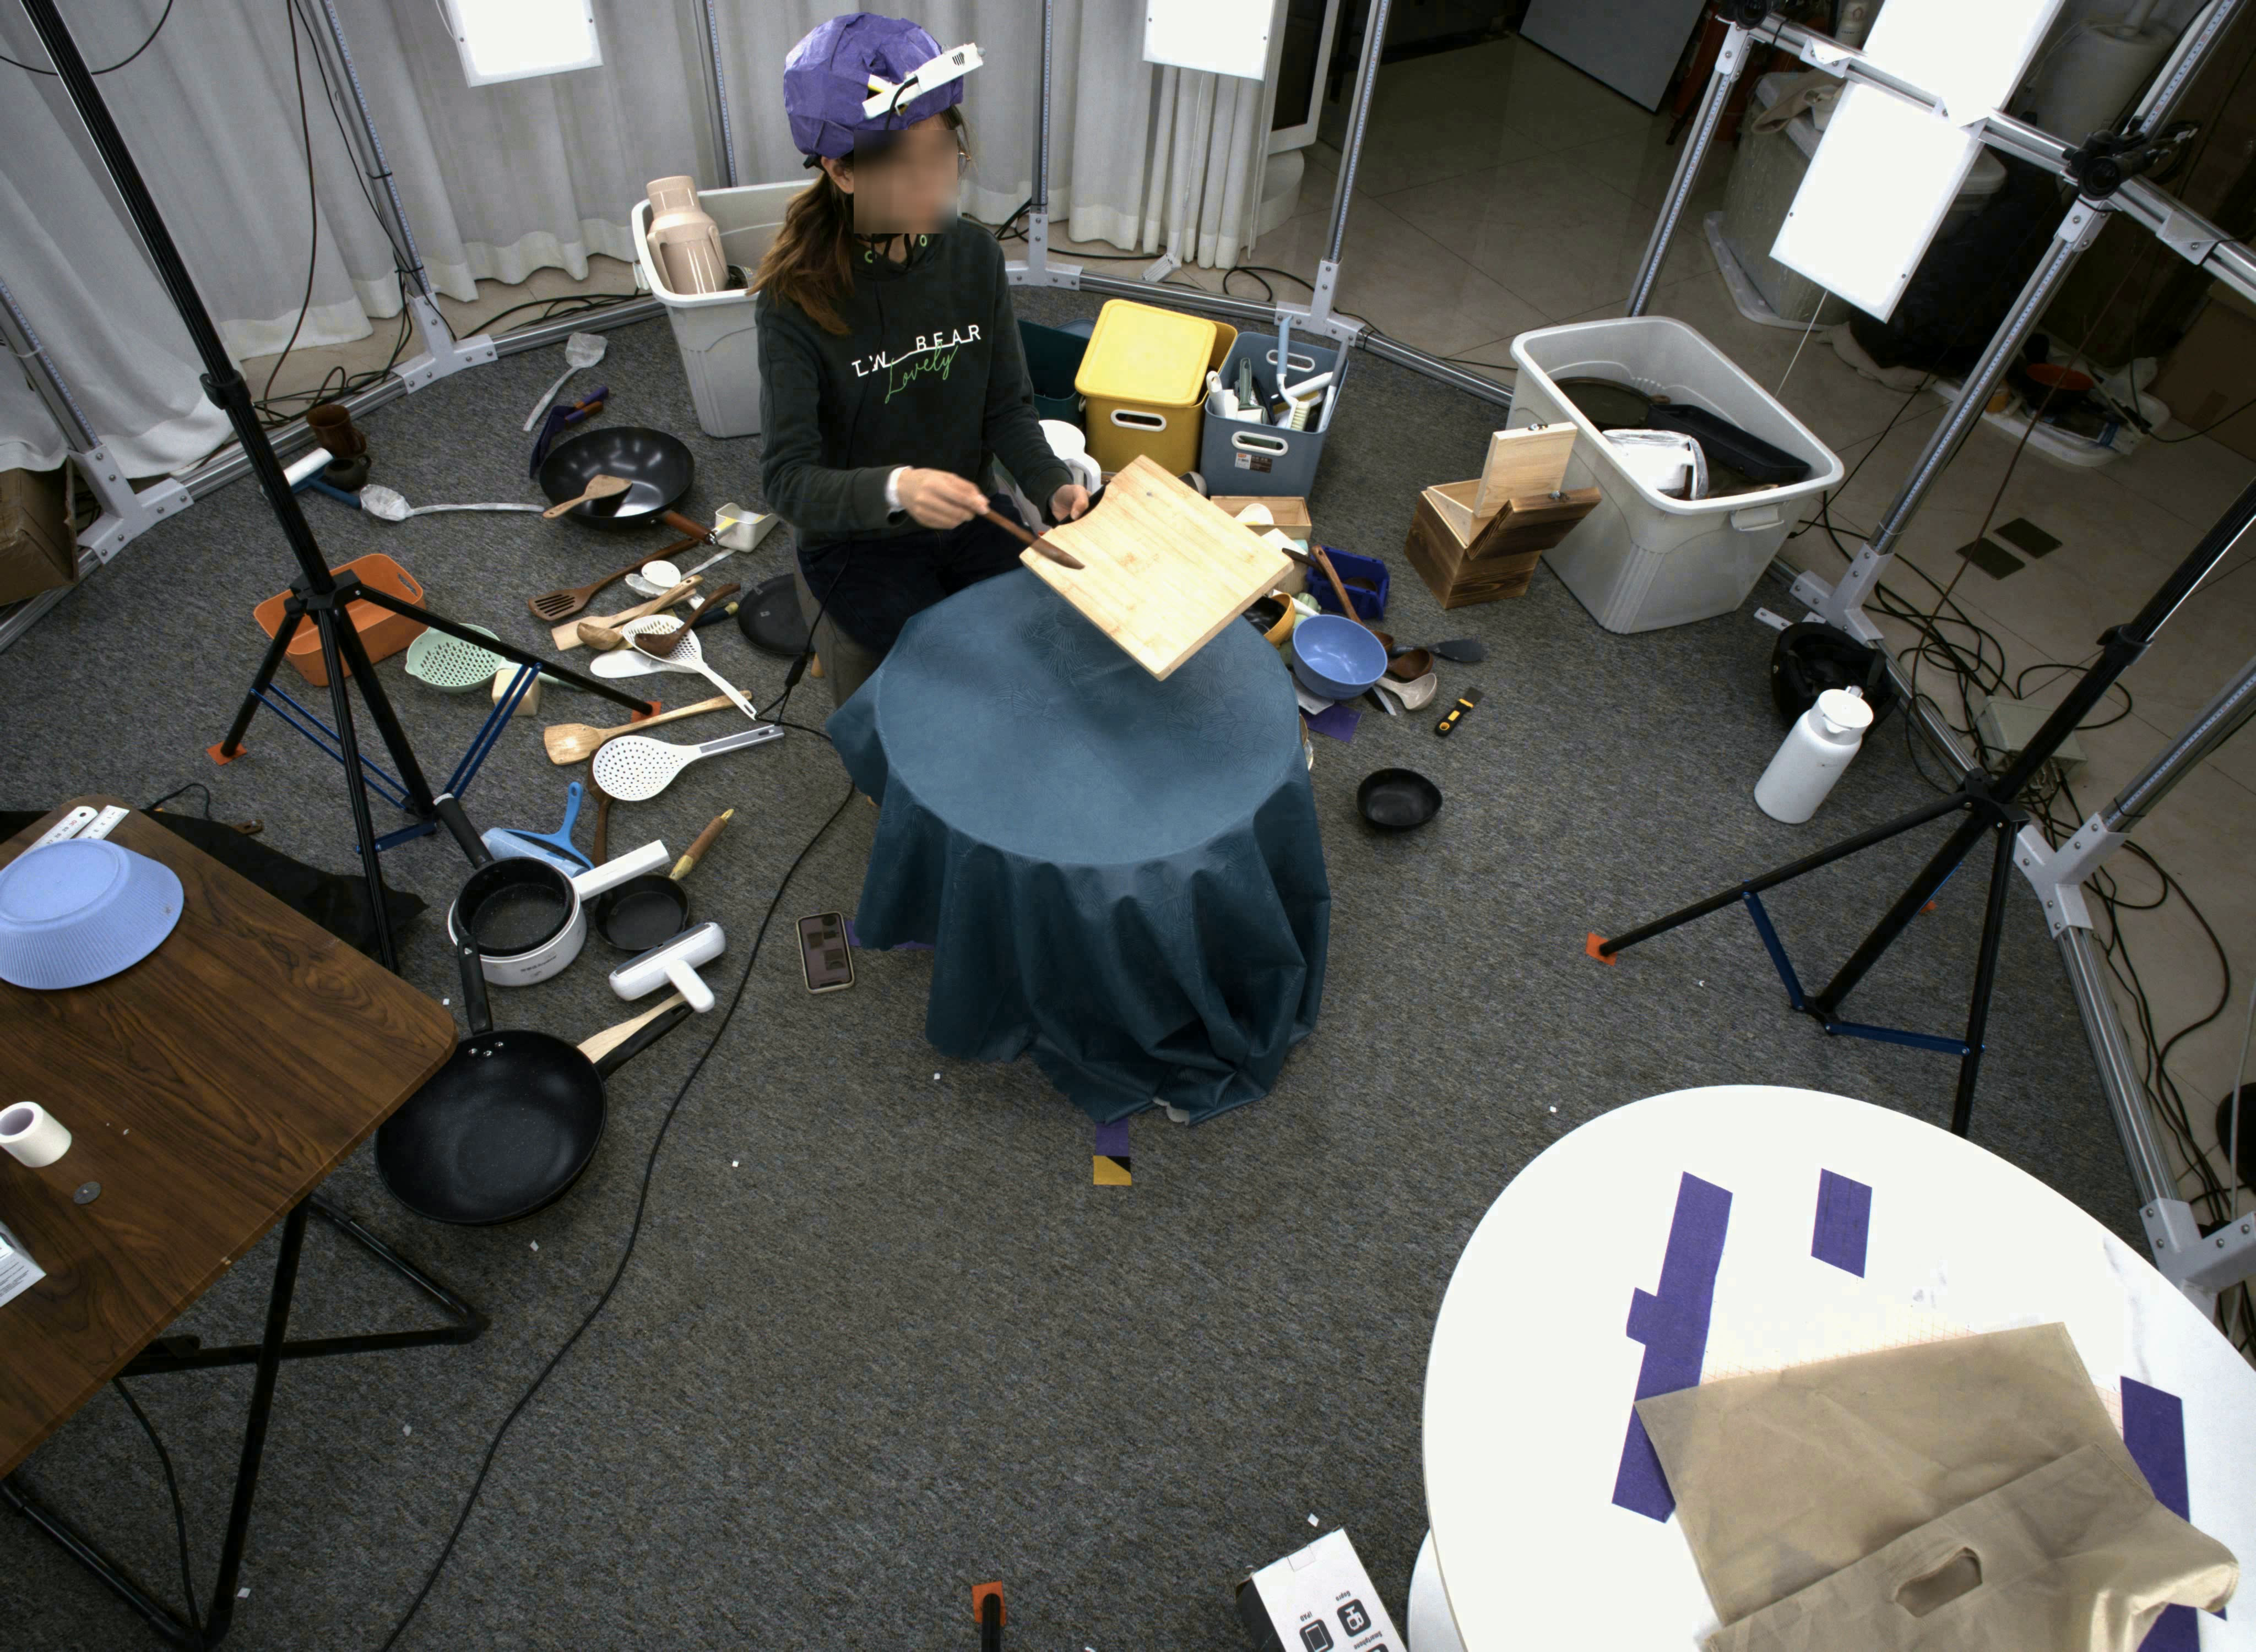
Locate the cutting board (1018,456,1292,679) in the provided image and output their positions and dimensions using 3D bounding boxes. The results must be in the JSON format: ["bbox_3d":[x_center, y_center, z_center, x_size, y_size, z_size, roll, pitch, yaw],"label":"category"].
[{"bbox_3d":[0.030,-0.370,1.806,0.251,0.023,0.355,-40,53,-8],"label":"cutting board"}]

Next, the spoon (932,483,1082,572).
[{"bbox_3d":[-0.155,-0.383,1.672,0.214,0.017,0.077,27,19,-17],"label":"spoon"}]
